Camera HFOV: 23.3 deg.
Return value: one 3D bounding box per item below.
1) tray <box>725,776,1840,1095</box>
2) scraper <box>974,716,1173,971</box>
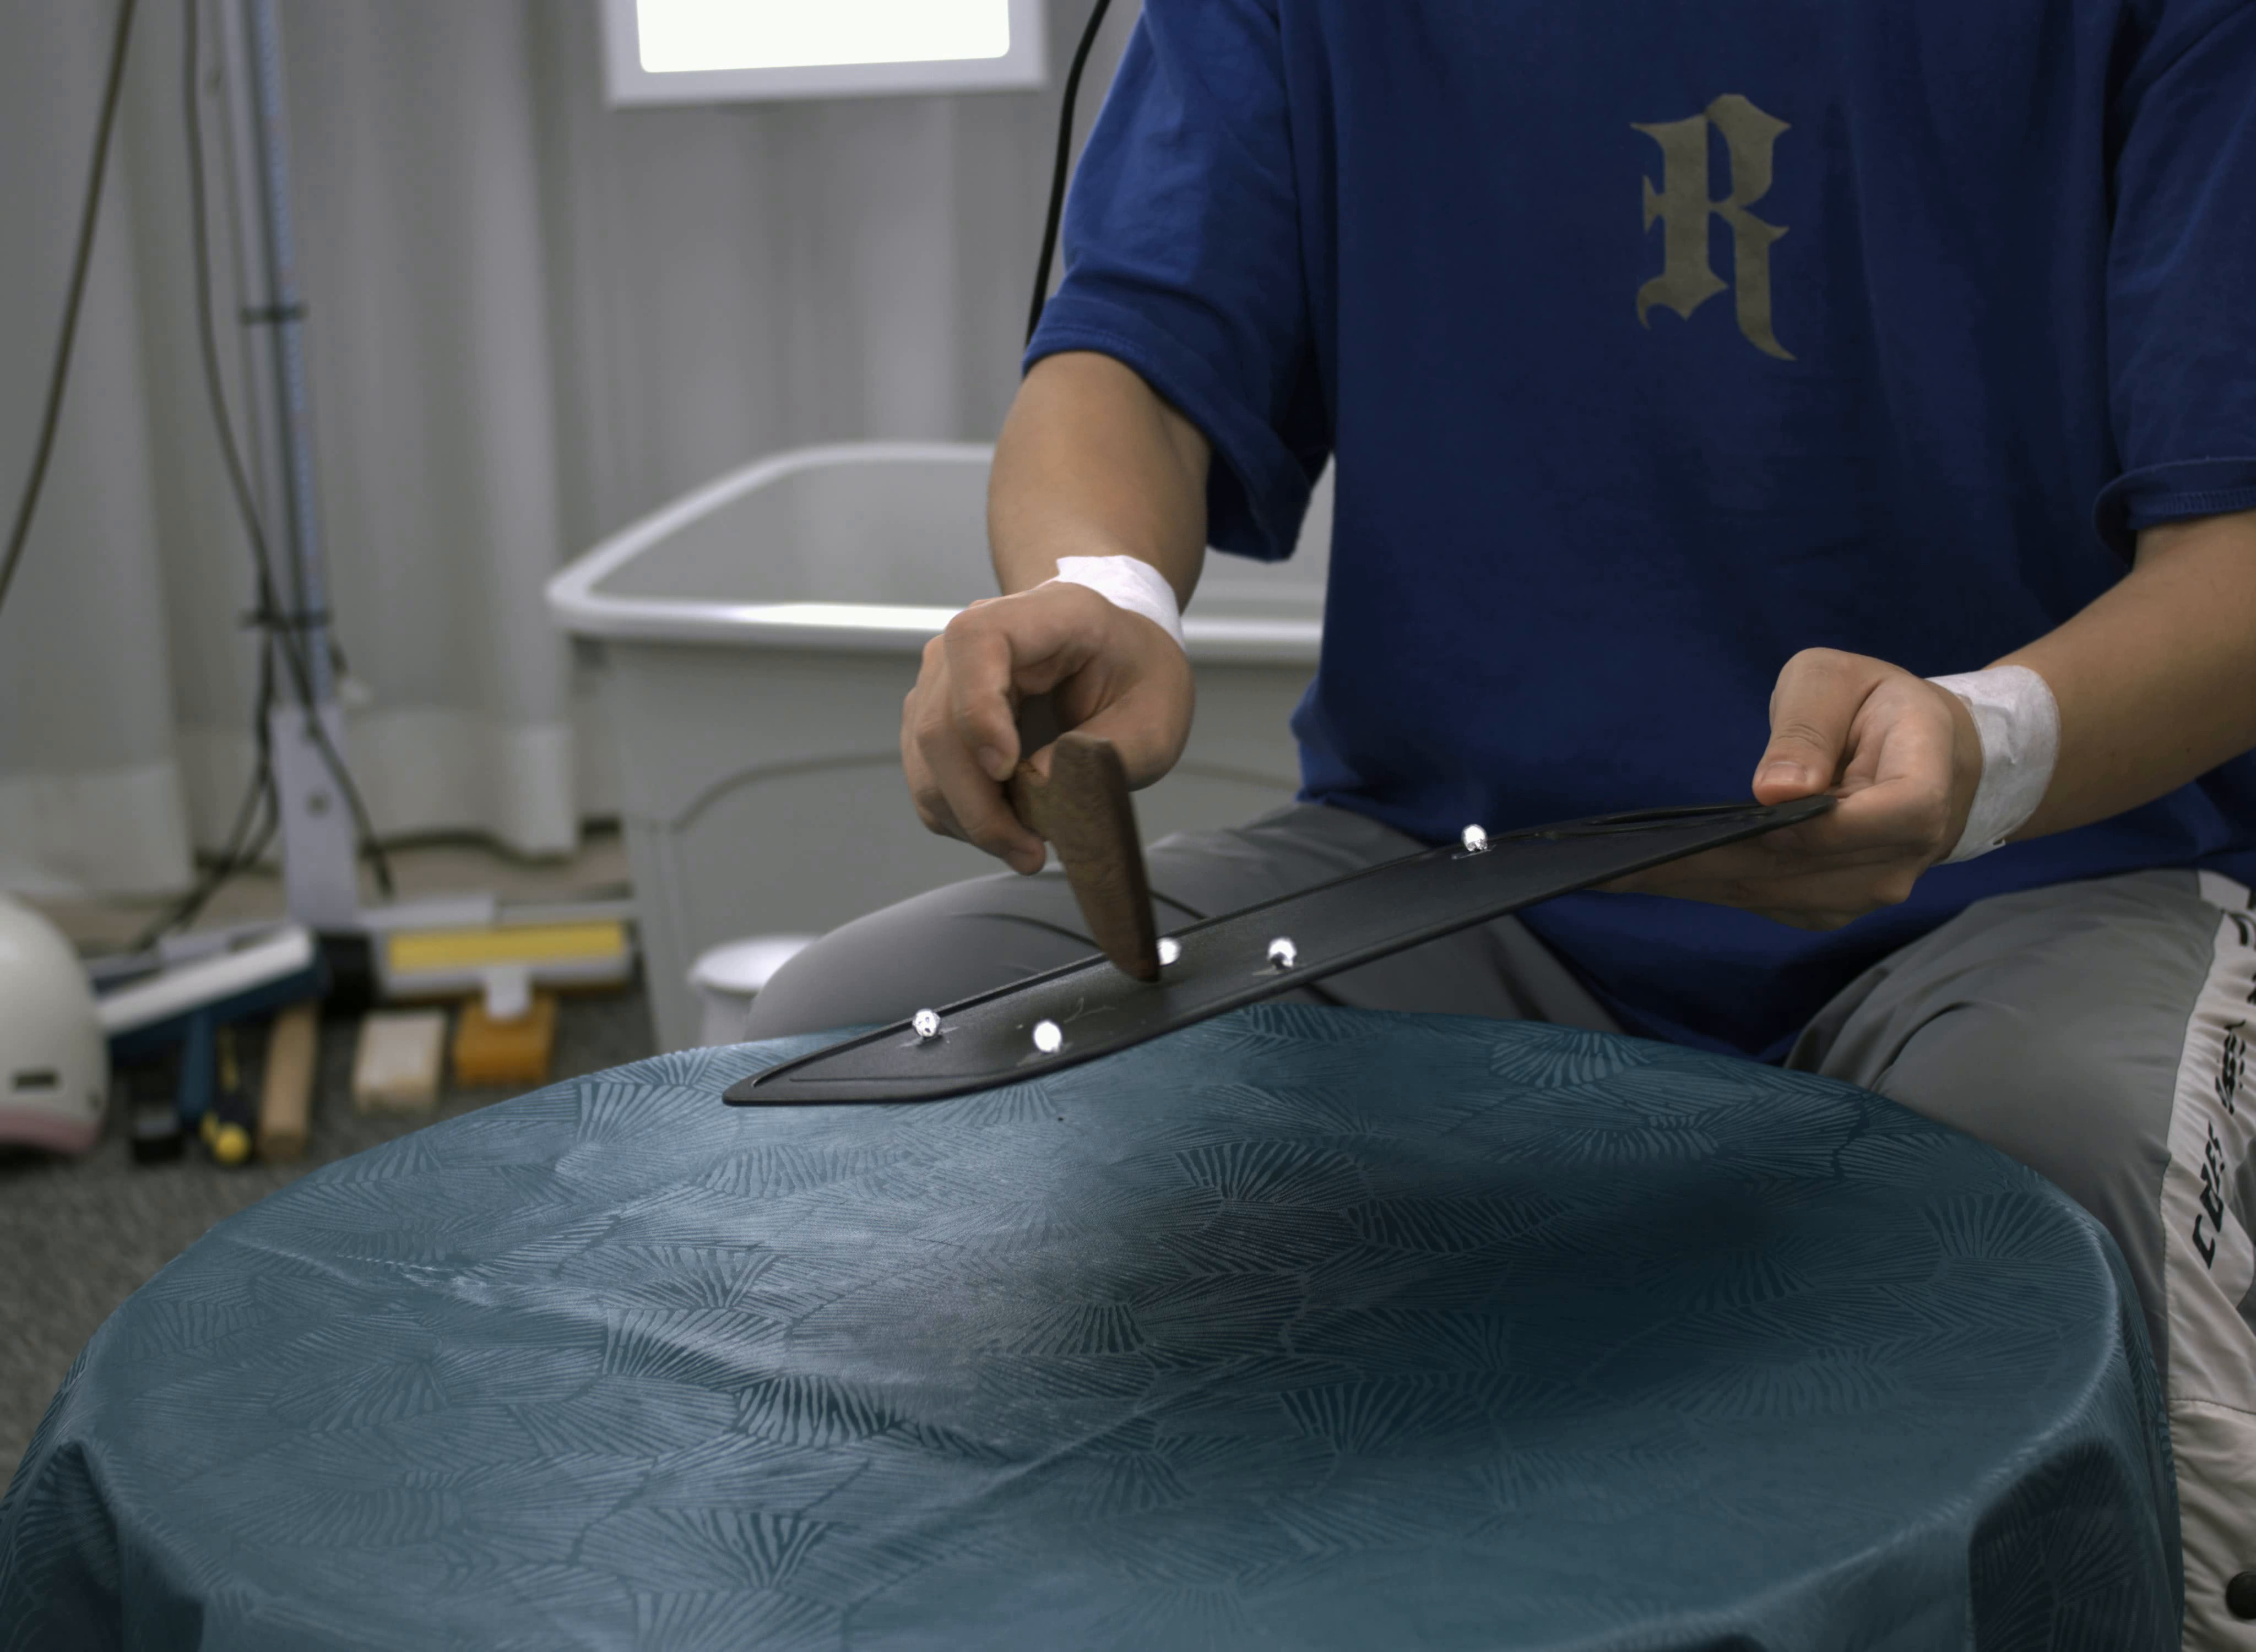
[{"bbox_3d":[0.050,0.029,1.602,0.324,0.010,0.211,-17,5,-26],"label":"tray"},{"bbox_3d":[-0.021,-0.005,1.655,0.011,0.075,0.212,-13,11,-11],"label":"scraper"}]
